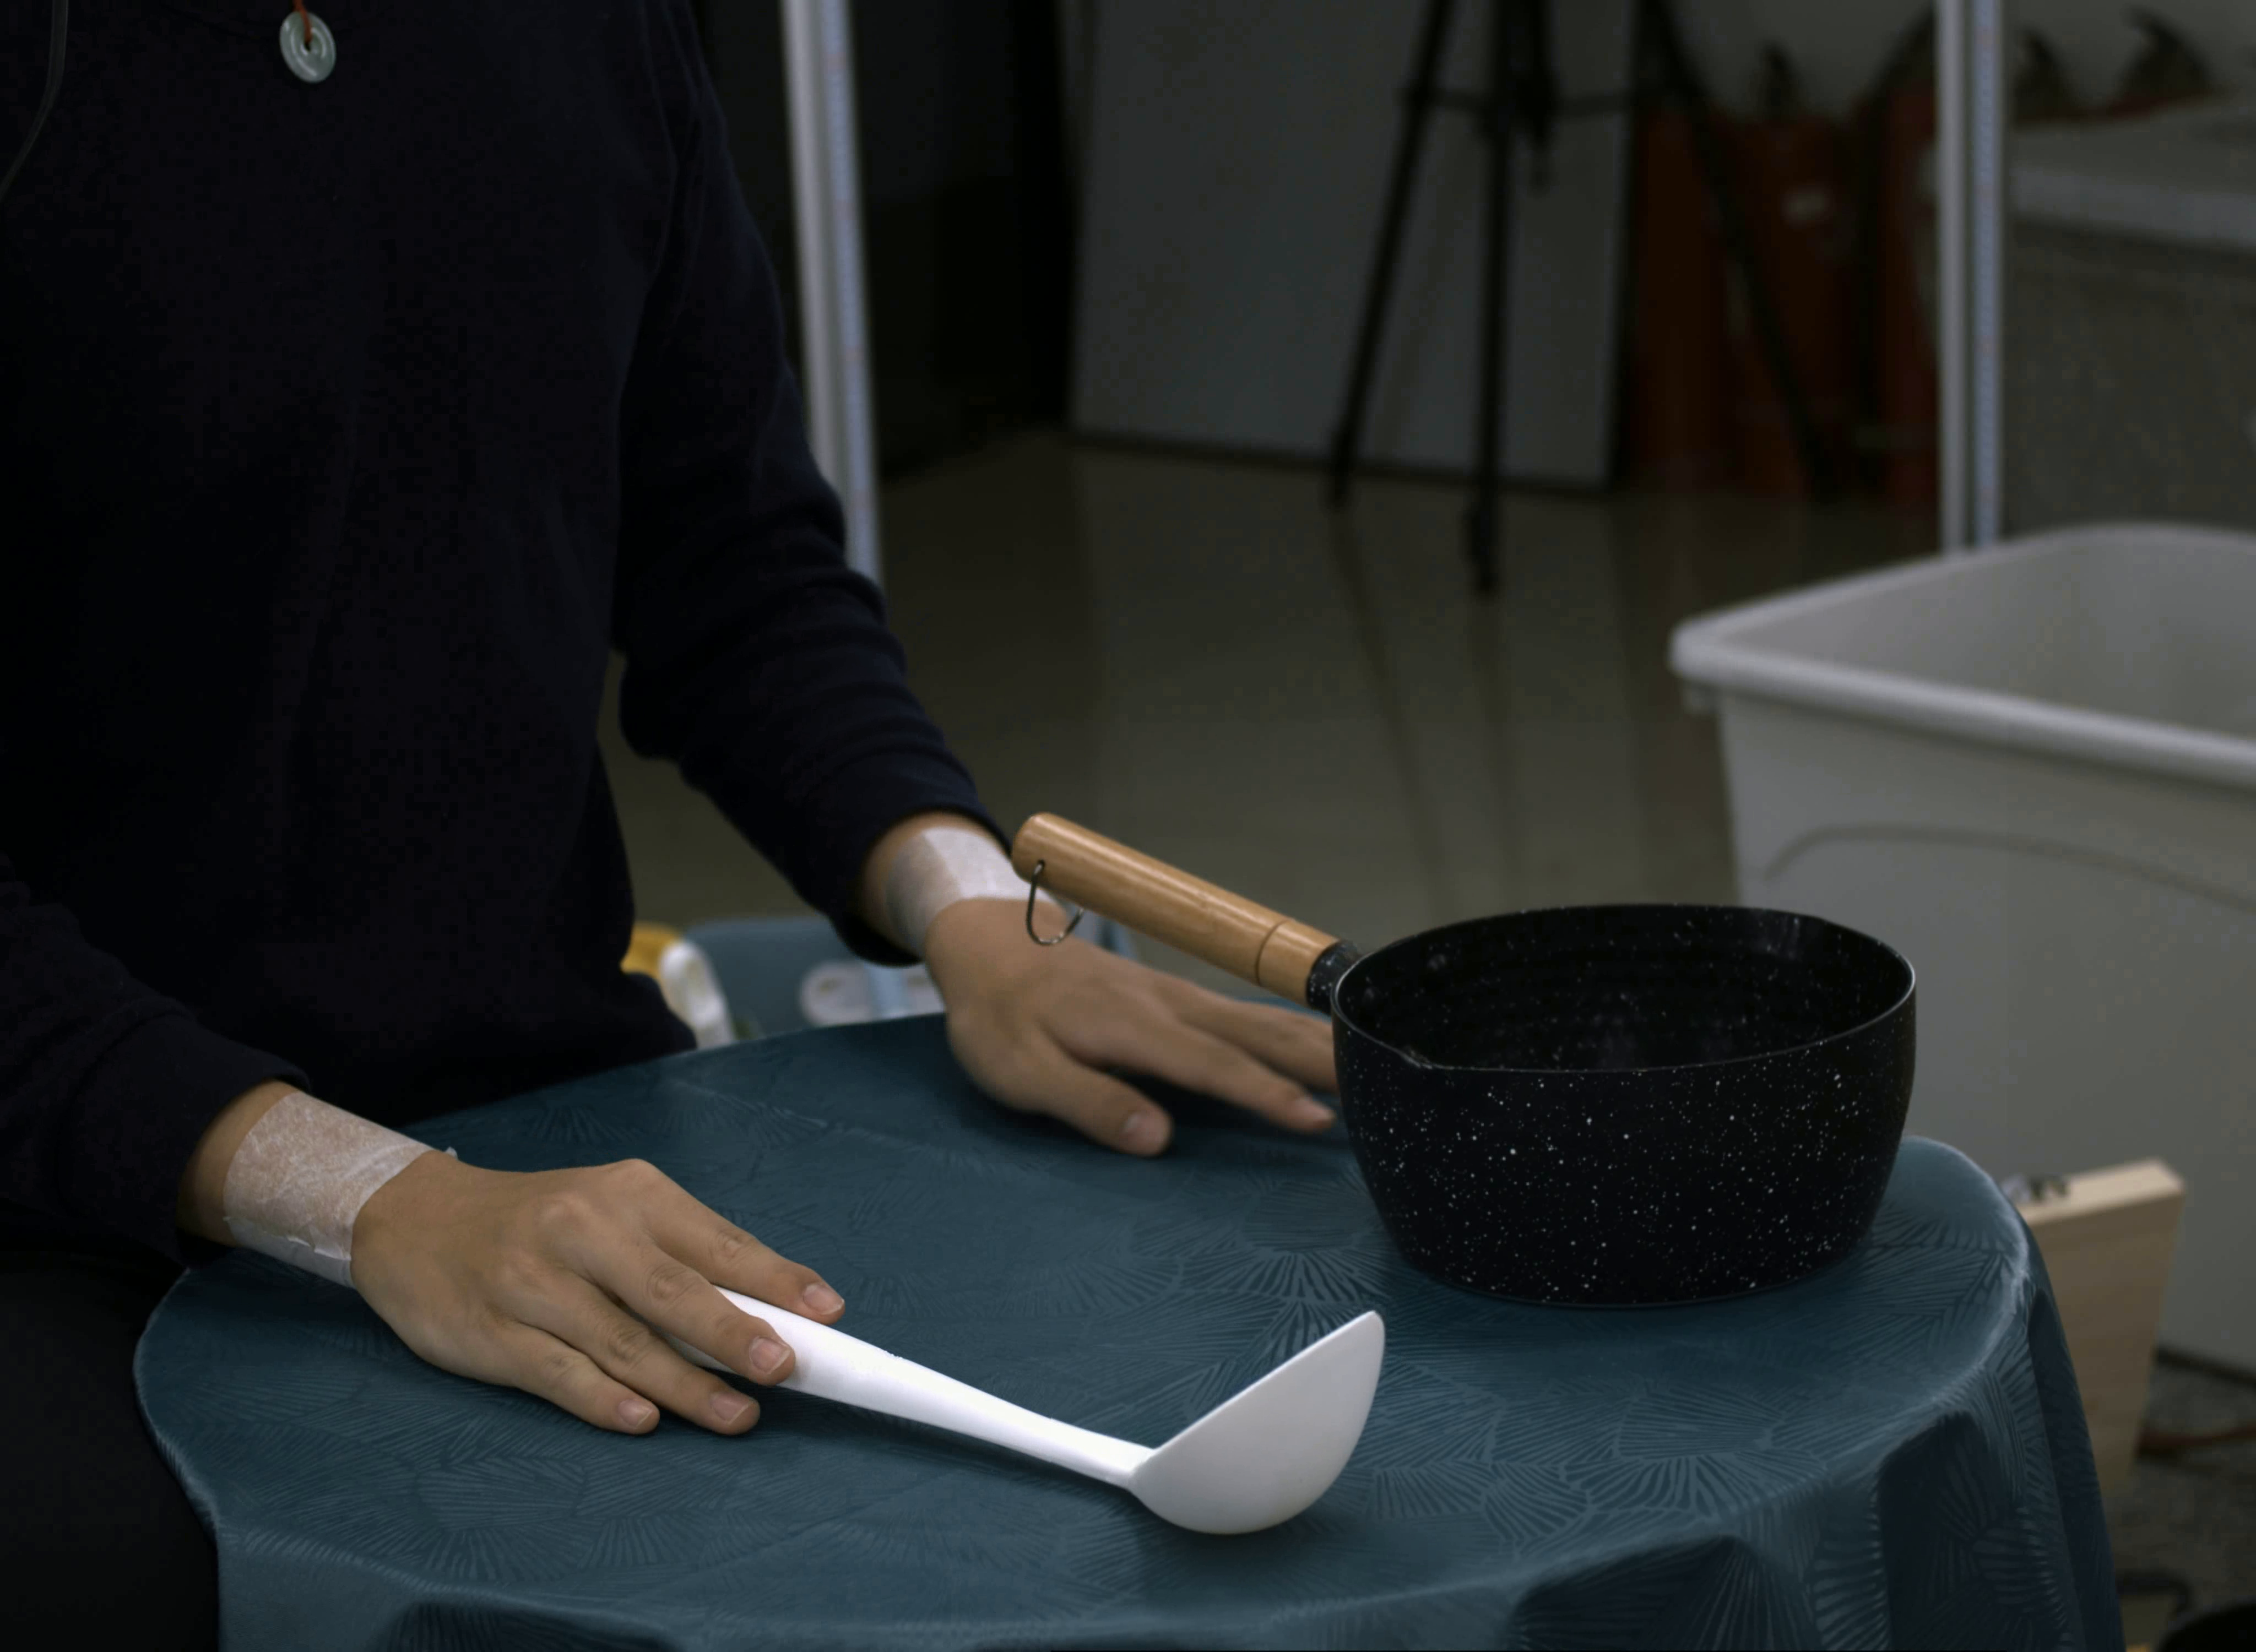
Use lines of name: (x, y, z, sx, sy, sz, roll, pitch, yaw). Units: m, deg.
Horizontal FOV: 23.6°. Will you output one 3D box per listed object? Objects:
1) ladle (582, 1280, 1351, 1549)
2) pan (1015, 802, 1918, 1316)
ladle: (-0.054, 0.152, 1.532, 0.295, 0.070, 0.089, 8, 34, 44)
pan: (0.095, 0.067, 1.734, 0.345, 0.109, 0.203, 9, 20, 40)
